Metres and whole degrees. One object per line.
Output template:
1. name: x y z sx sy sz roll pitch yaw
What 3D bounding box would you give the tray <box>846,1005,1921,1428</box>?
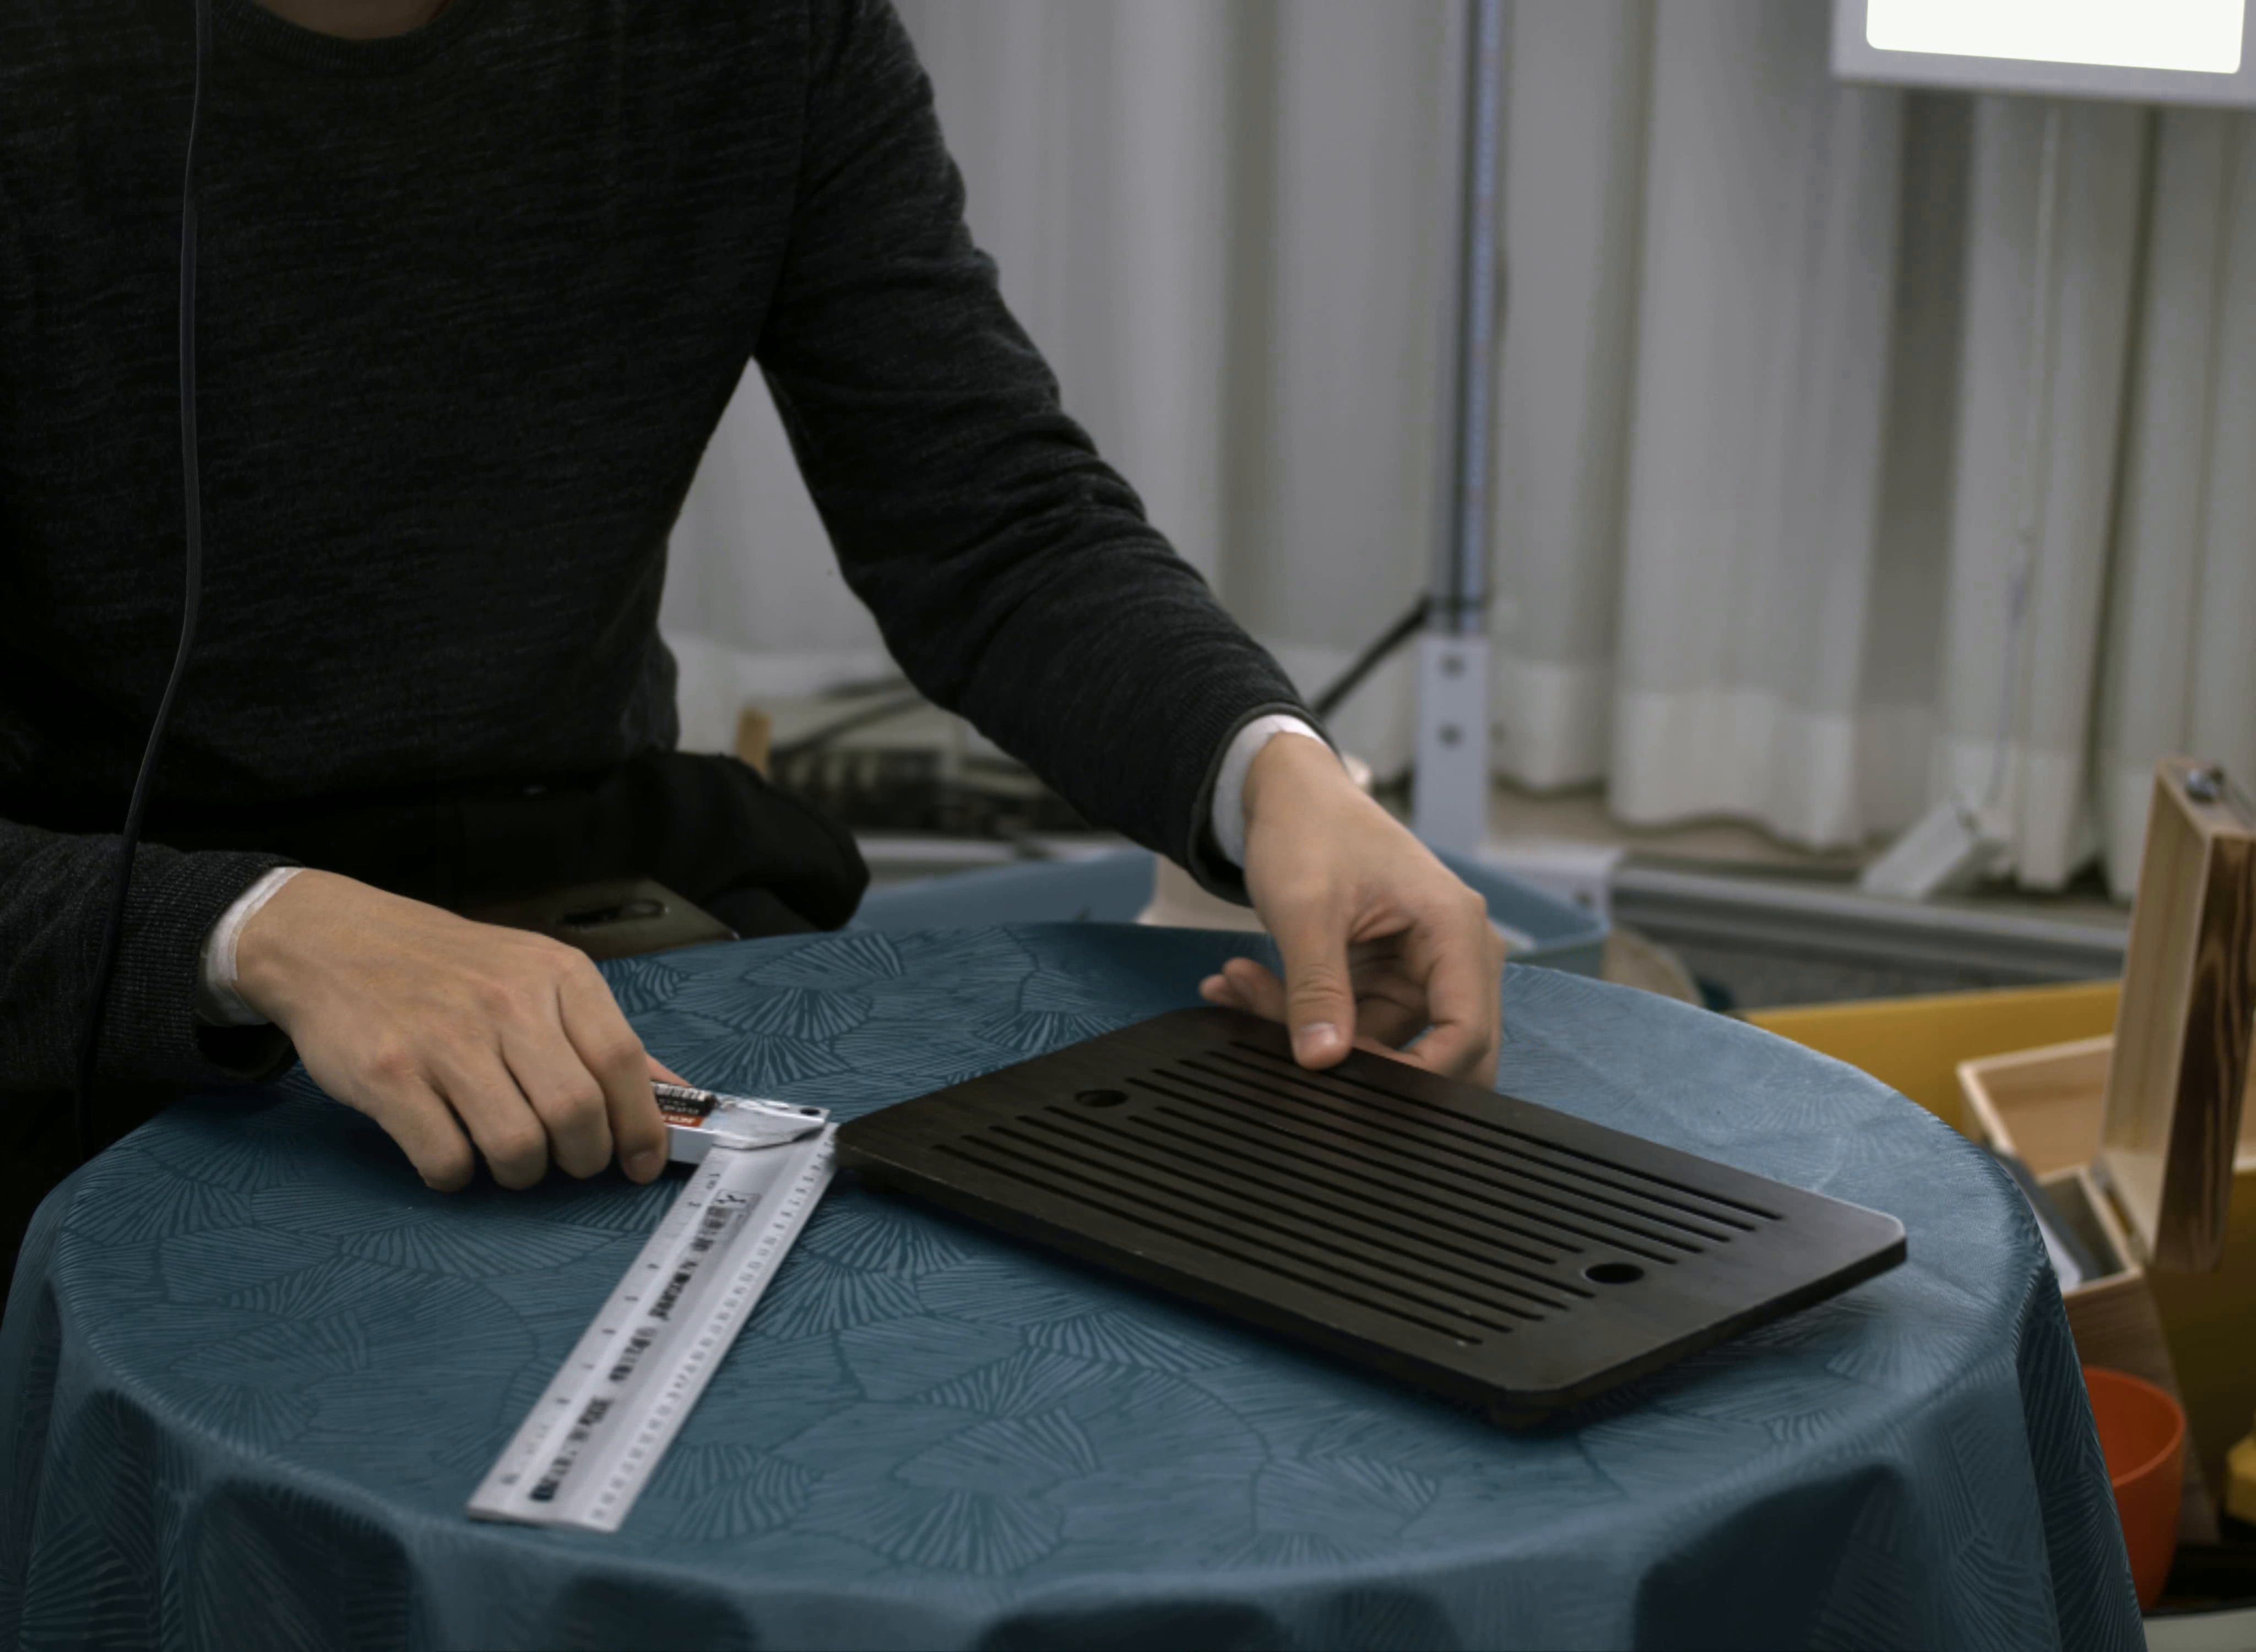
1. tray: 0.071 0.113 1.578 0.171 0.019 0.302 -17 23 -40

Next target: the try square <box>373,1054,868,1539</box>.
1. try square: -0.179 0.130 1.512 0.151 0.016 0.312 8 18 7
